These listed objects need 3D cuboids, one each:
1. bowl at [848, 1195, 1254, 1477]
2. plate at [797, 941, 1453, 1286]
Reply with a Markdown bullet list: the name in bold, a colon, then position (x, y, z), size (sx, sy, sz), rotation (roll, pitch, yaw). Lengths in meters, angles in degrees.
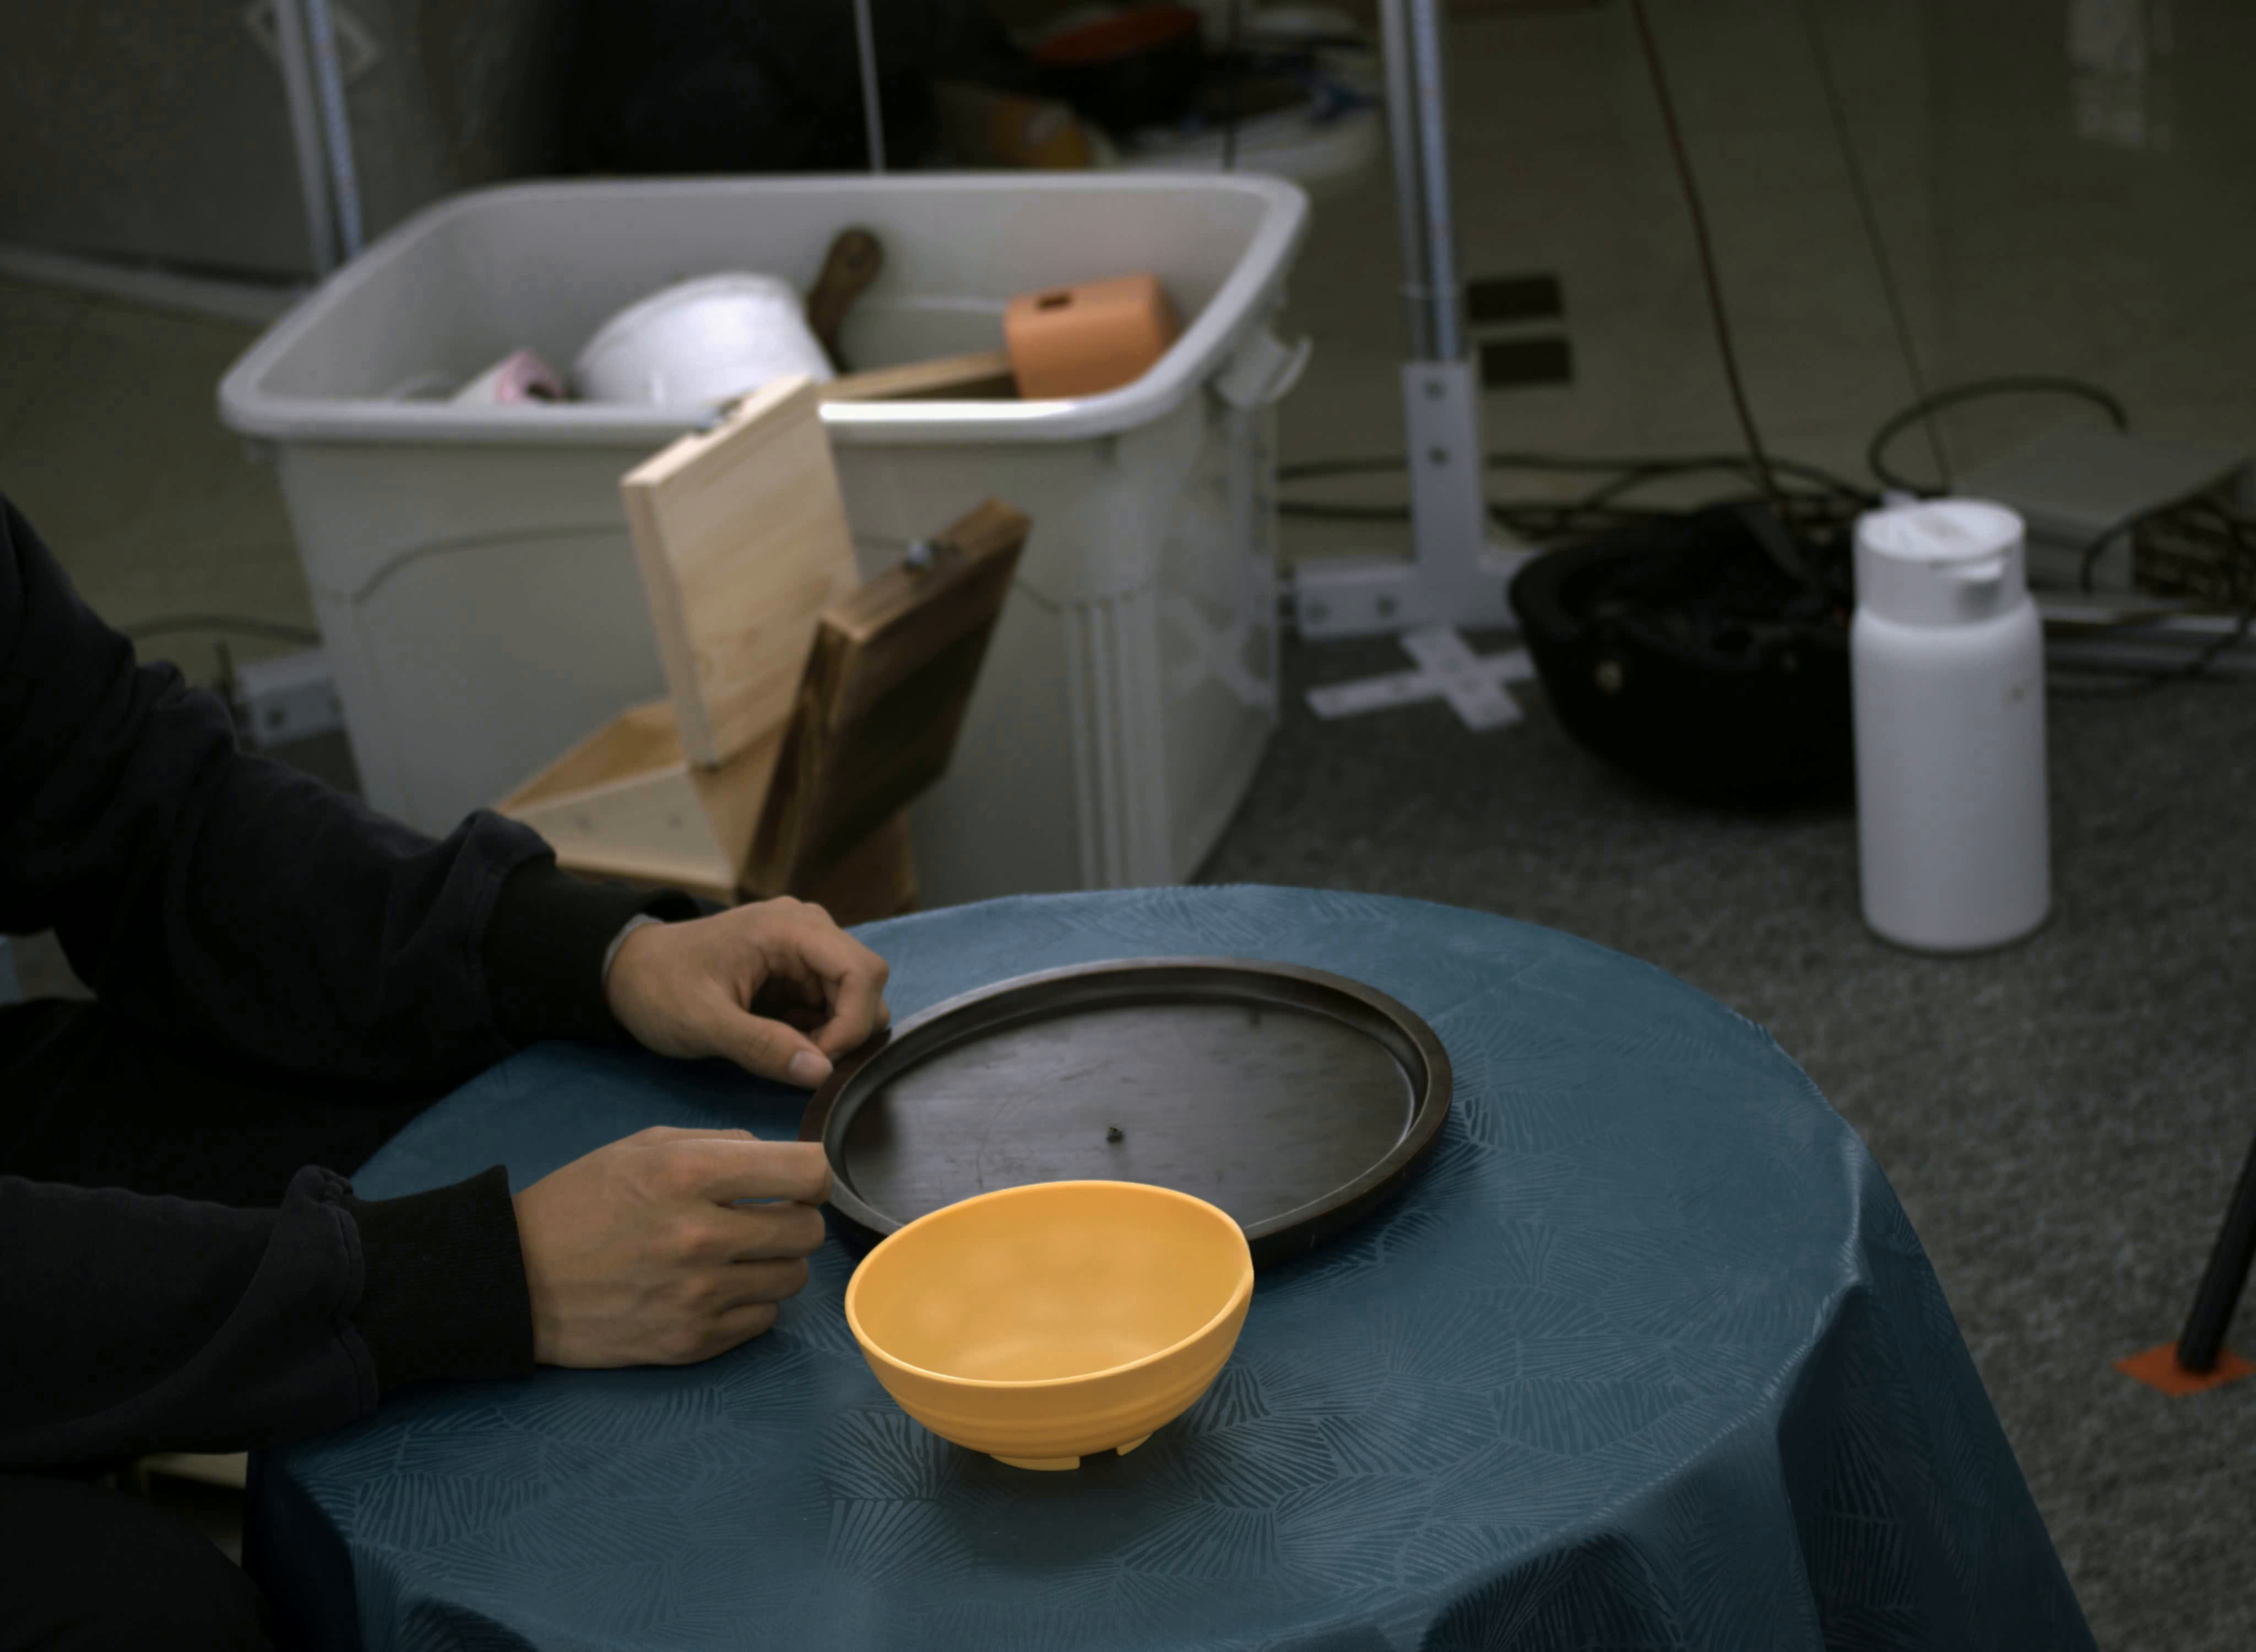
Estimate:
- **bowl**: position (-0.023, 0.186, 1.990), size (0.145, 0.061, 0.143), rotation (-7, 23, 3)
- **plate**: position (-0.001, 0.116, 2.177), size (0.254, 0.029, 0.251), rotation (-6, 27, 3)
